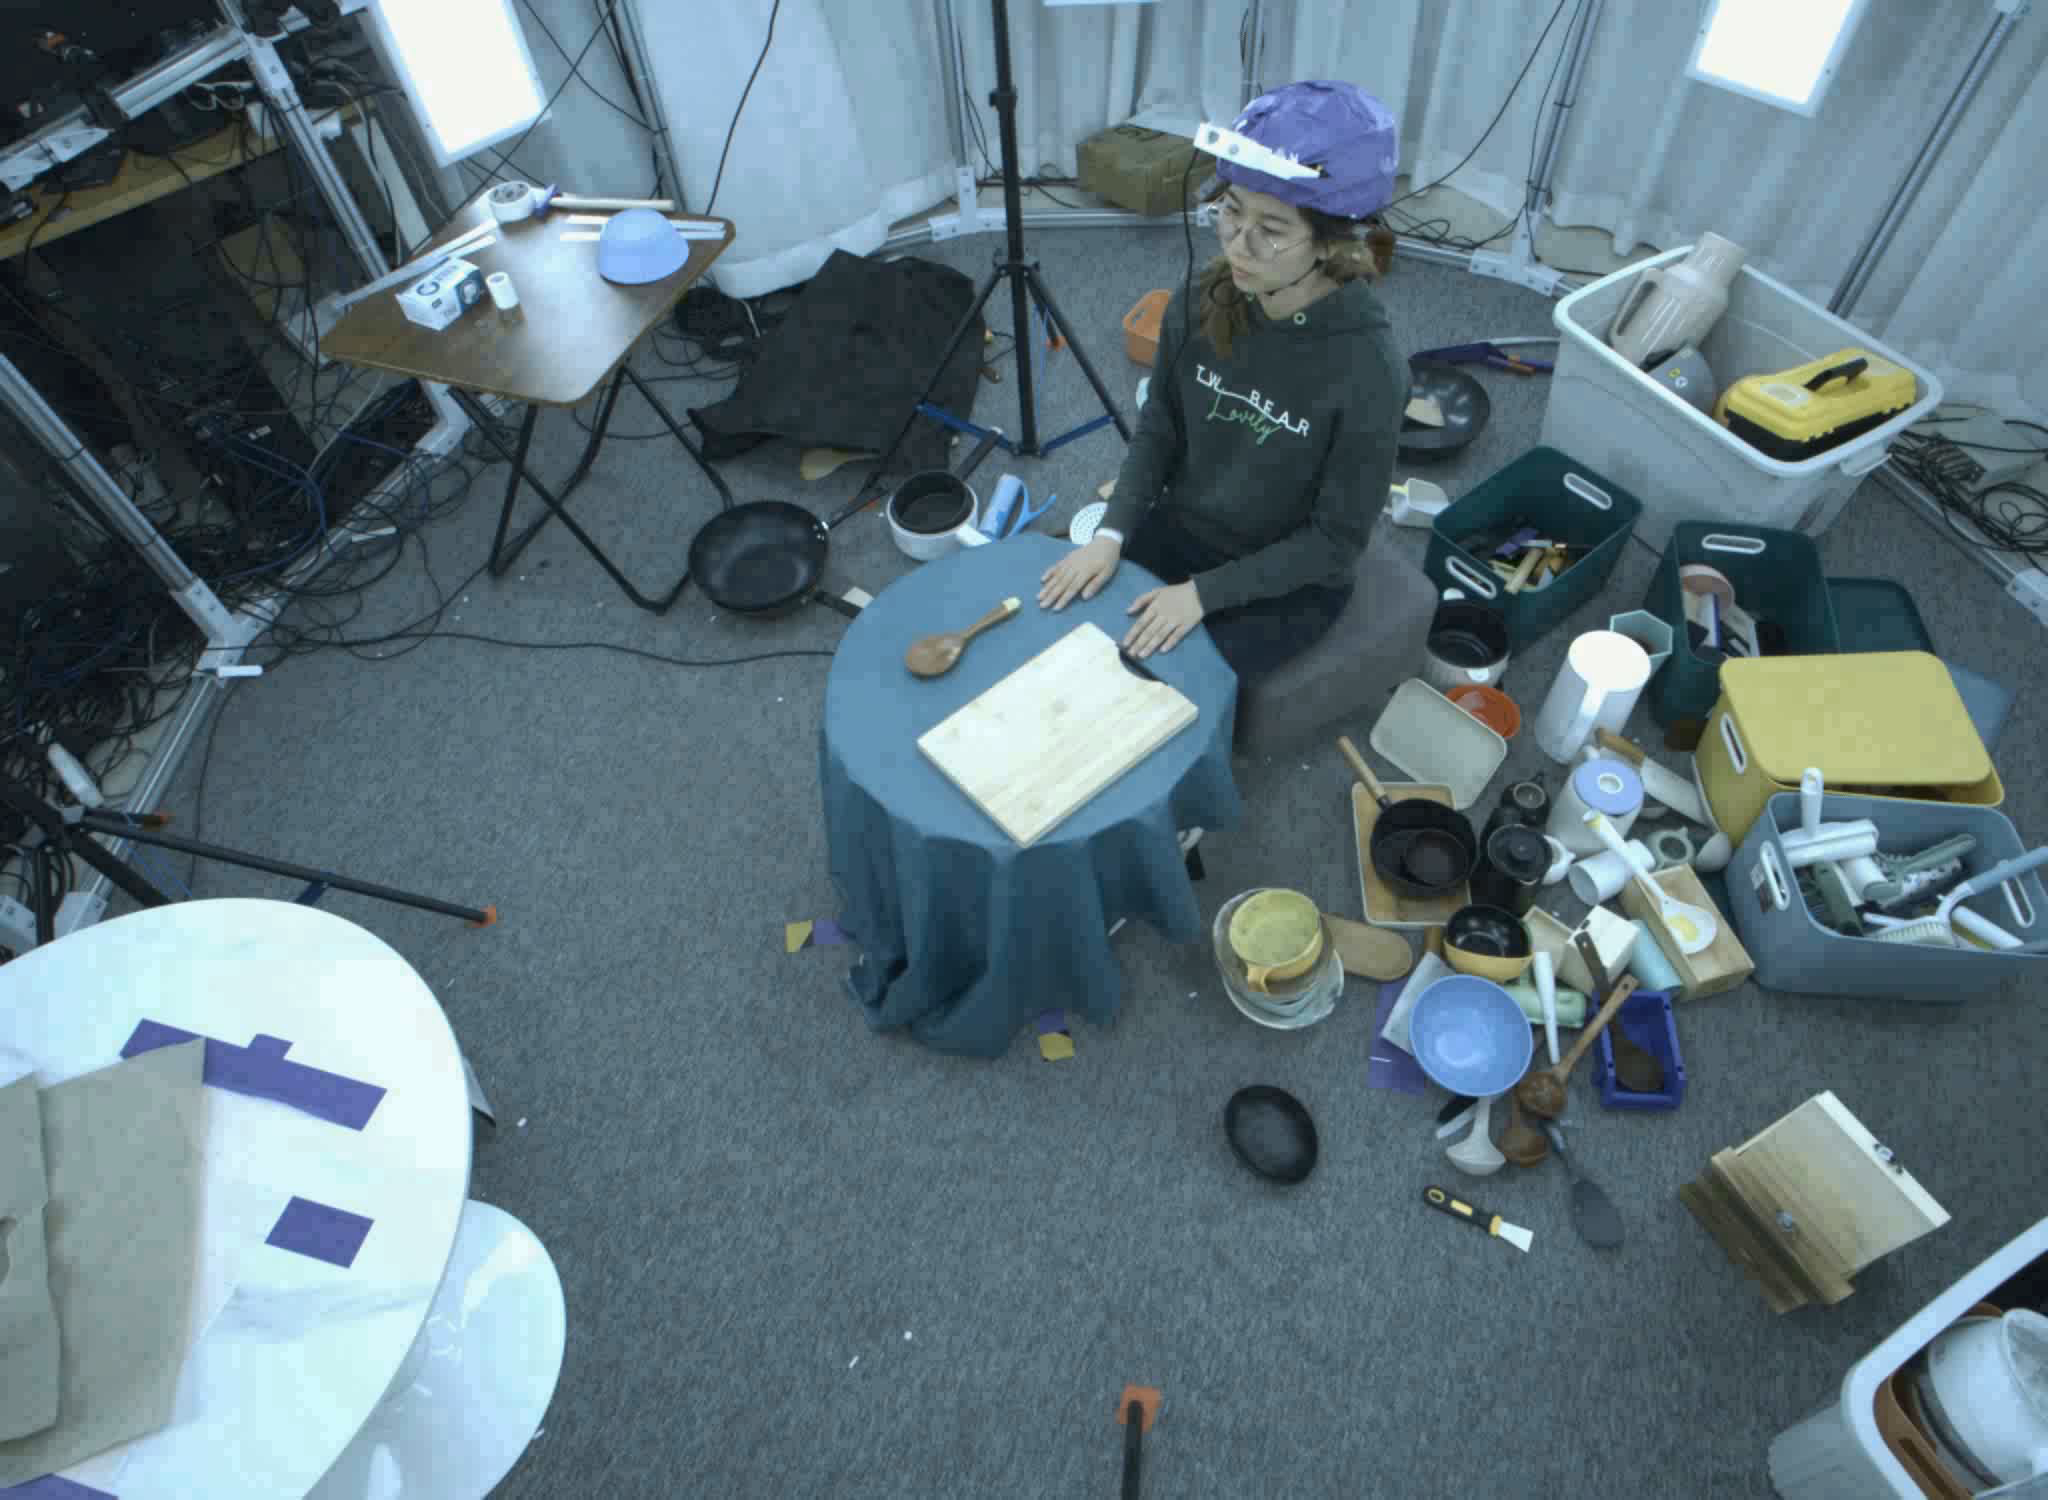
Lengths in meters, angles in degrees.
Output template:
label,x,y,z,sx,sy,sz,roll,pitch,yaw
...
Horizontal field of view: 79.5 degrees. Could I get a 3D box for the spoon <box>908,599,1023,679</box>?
label,x,y,z,sx,sy,sz,roll,pitch,yaw
spoon,-0.088,-0.174,1.912,0.217,0.017,0.074,-36,61,-21

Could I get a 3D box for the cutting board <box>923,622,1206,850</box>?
label,x,y,z,sx,sy,sz,roll,pitch,yaw
cutting board,0.058,-0.030,1.808,0.351,0.024,0.246,-37,62,-22
